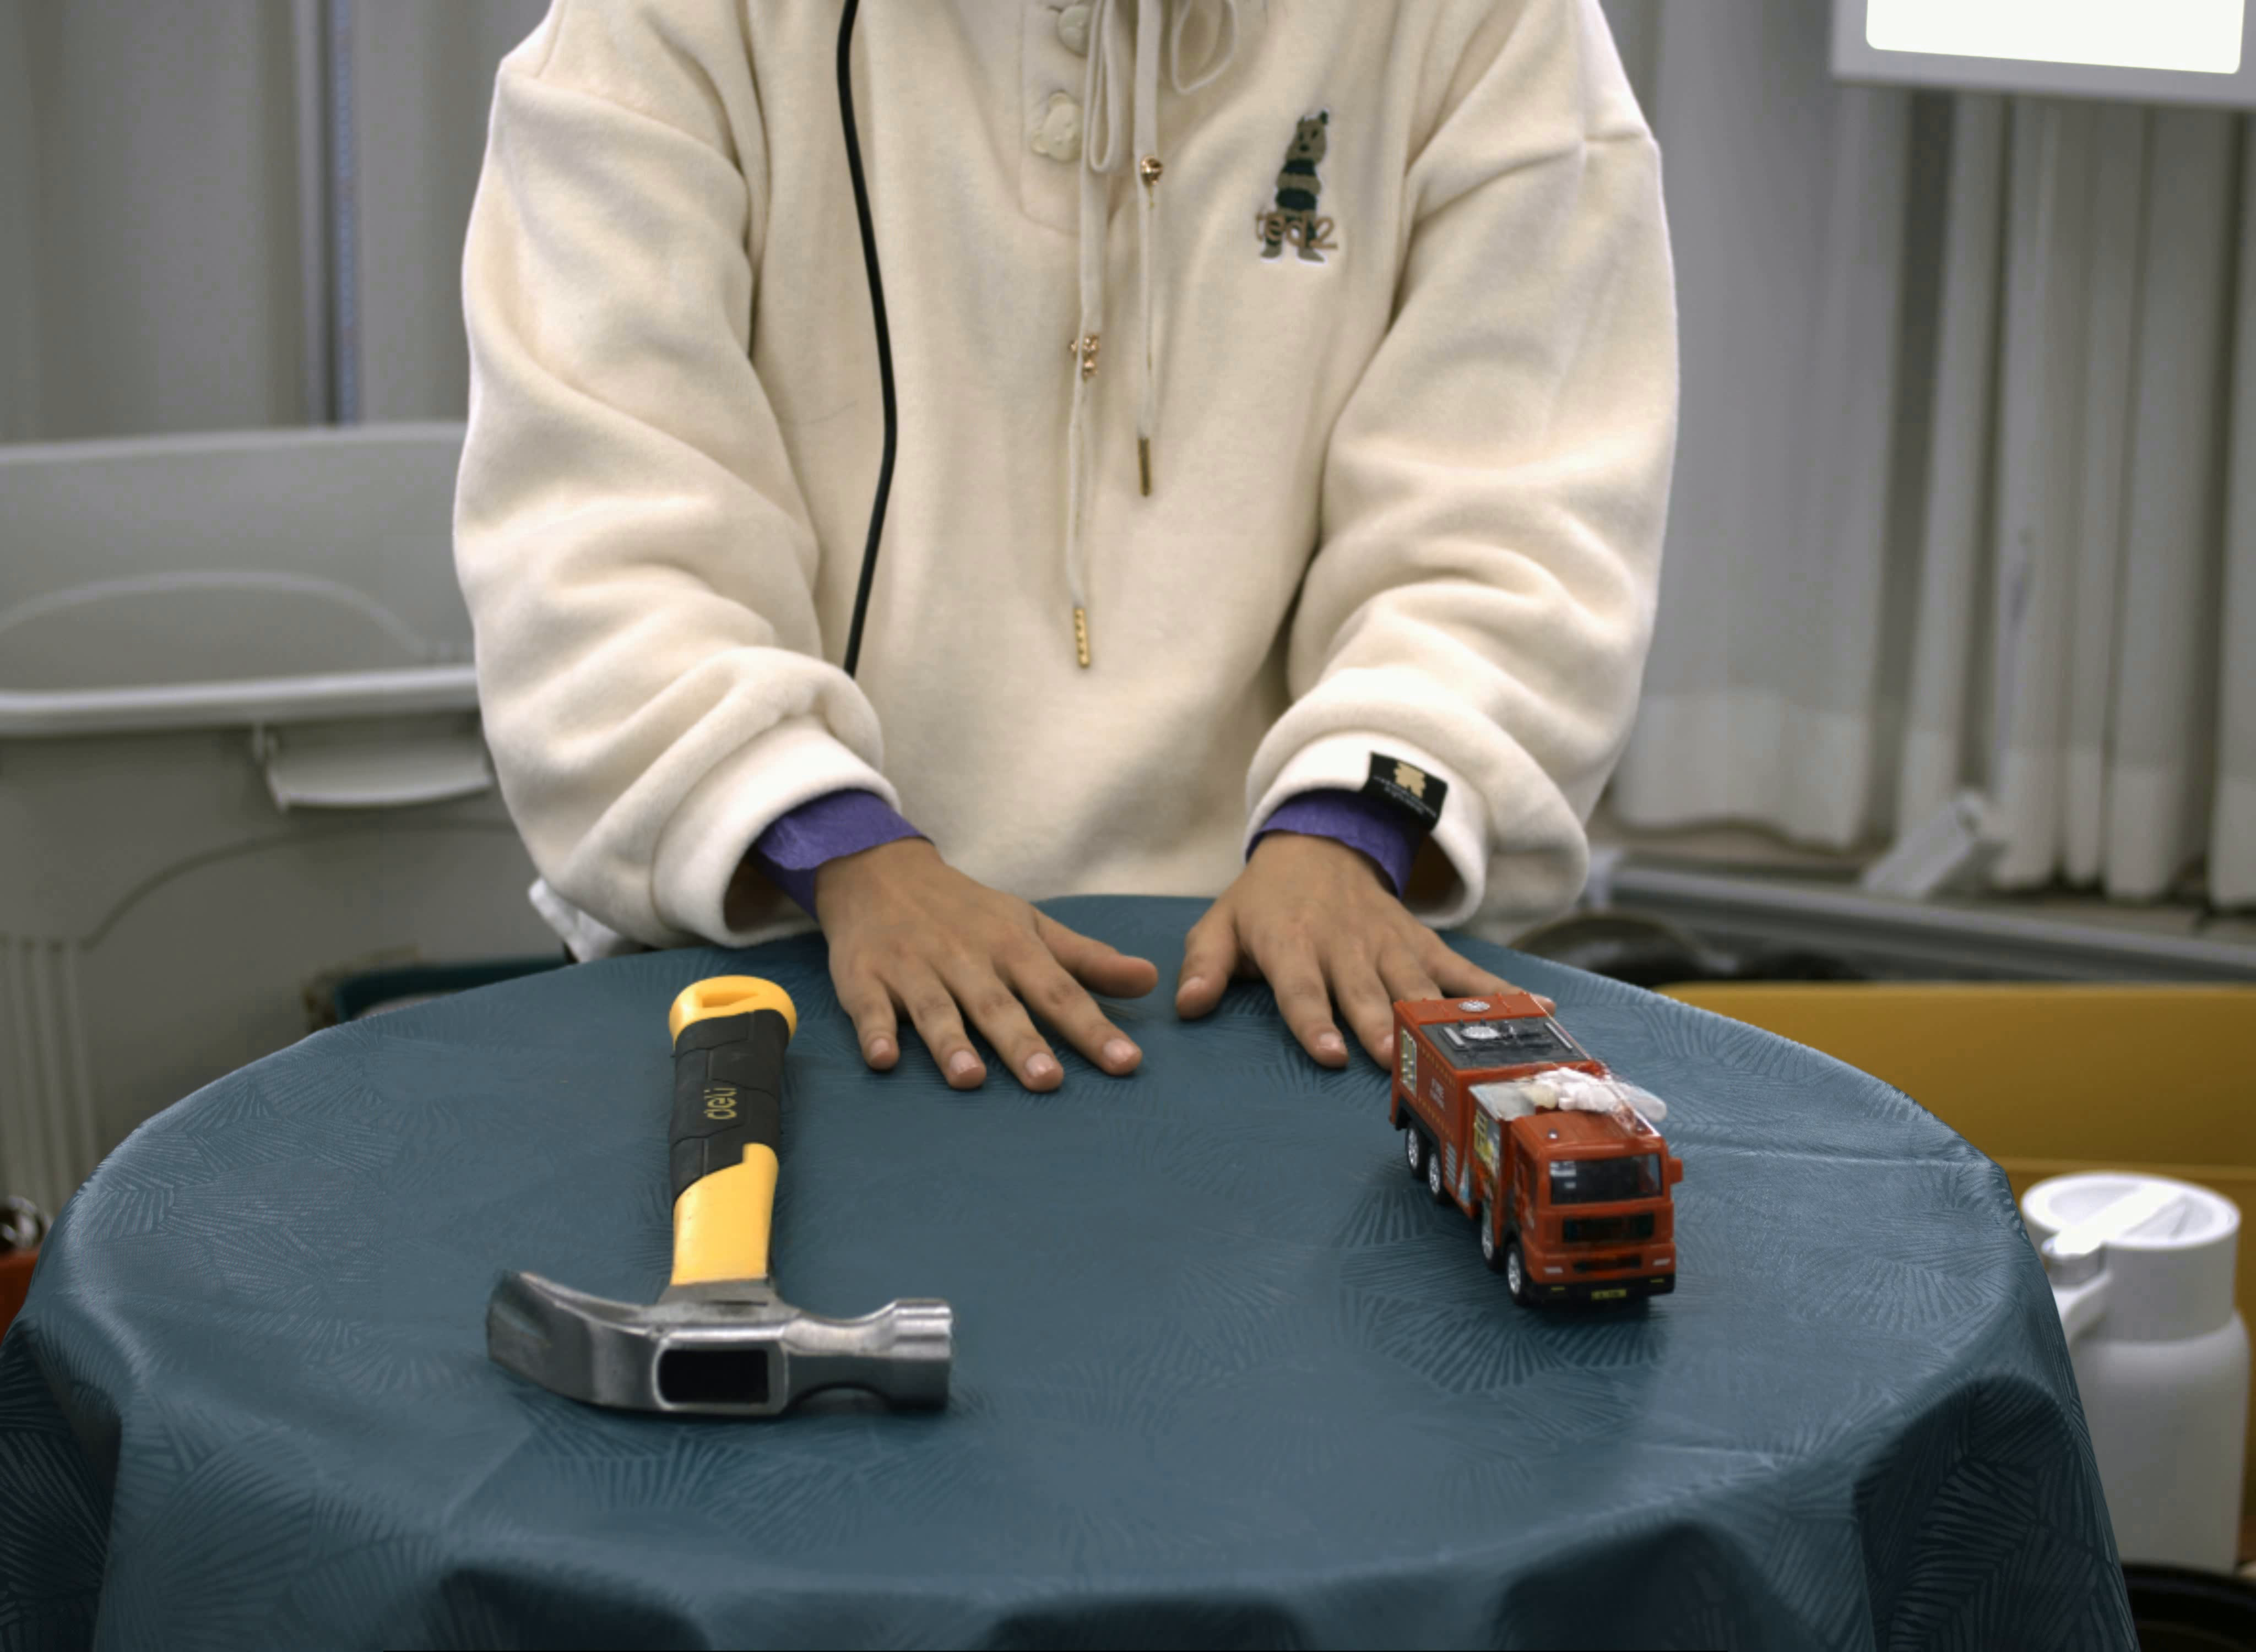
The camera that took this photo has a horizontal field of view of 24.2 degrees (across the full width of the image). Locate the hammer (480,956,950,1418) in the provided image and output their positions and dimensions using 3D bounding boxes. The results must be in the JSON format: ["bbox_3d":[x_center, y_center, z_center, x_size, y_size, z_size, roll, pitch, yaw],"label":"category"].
[{"bbox_3d":[-0.121,0.101,1.587,0.131,0.032,0.336,-1,17,-3],"label":"hammer"}]

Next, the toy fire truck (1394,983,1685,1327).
[{"bbox_3d":[0.122,0.095,1.577,0.054,0.071,0.166,-3,15,-13],"label":"toy fire truck"}]
